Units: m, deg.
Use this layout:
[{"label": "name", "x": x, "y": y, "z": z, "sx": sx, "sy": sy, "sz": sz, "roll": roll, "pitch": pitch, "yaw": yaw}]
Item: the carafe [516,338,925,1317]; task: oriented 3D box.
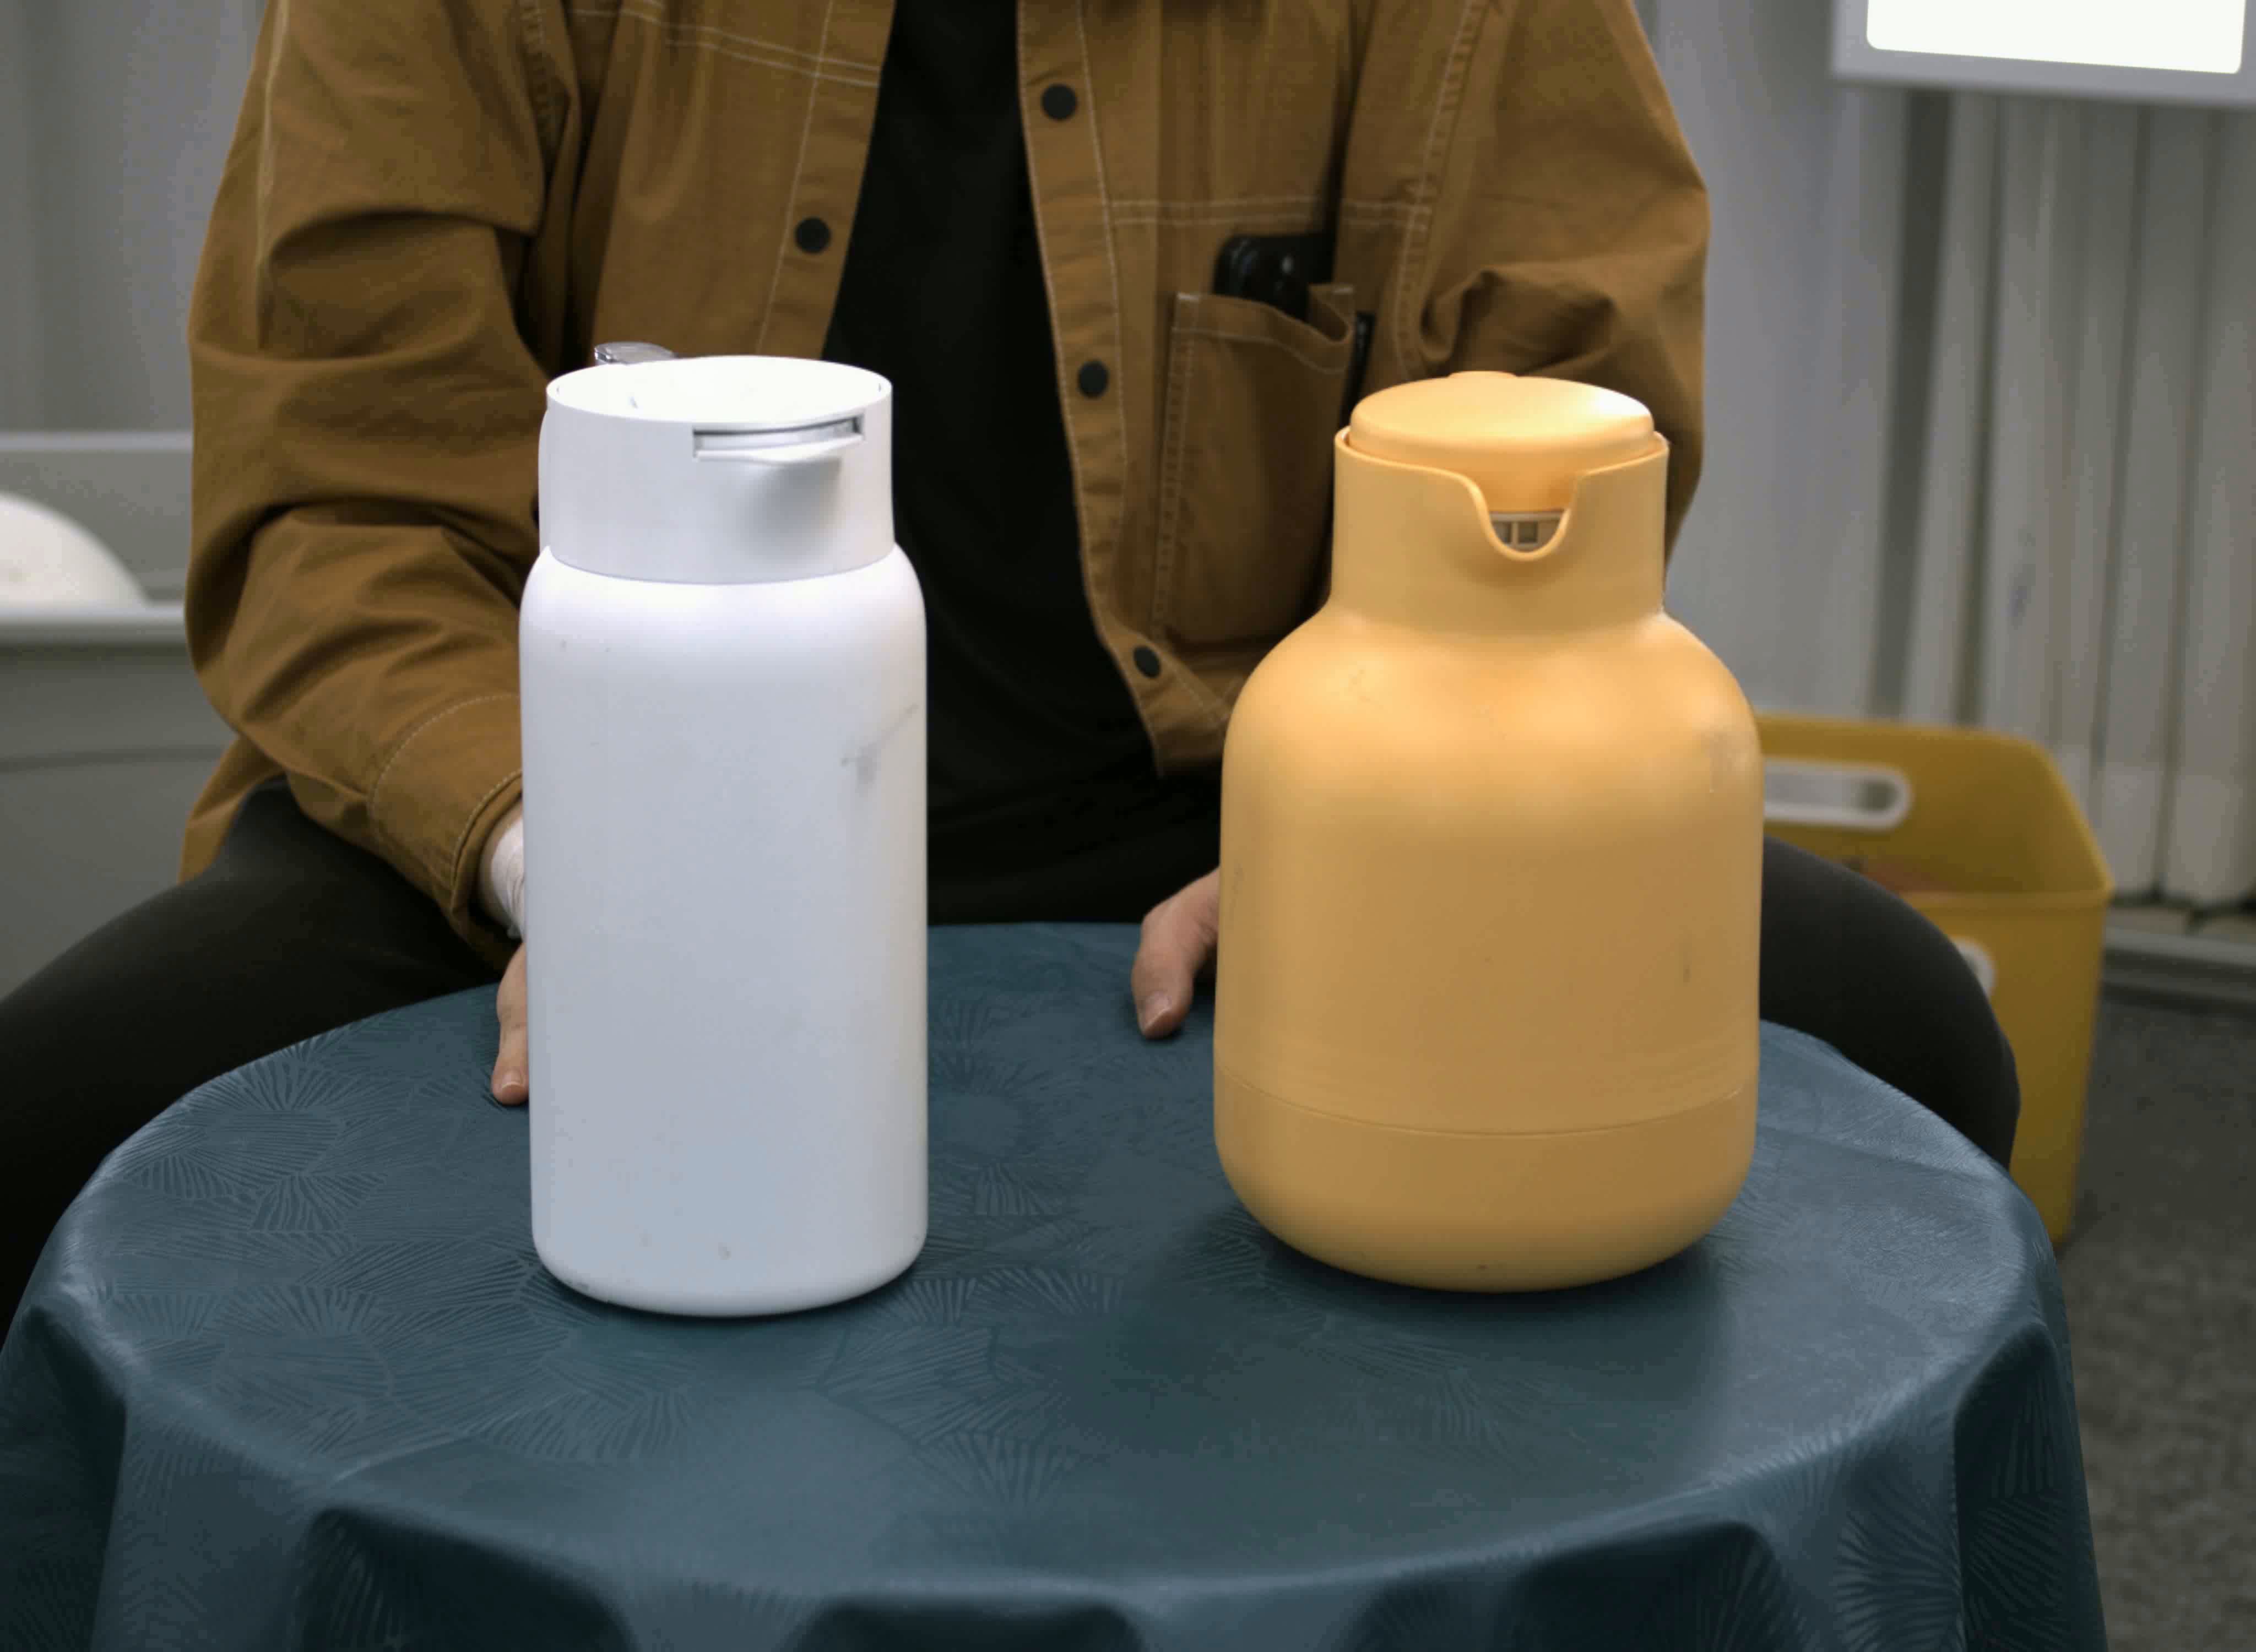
[{"label": "carafe", "x": -0.127, "y": -0.004, "z": 1.535, "sx": 0.124, "sy": 0.271, "sz": 0.170, "roll": -11, "pitch": 19, "yaw": -28}]

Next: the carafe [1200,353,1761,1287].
[{"label": "carafe", "x": 0.107, "y": -0.010, "z": 1.571, "sx": 0.163, "sy": 0.262, "sz": 0.201, "roll": 3, "pitch": 18, "yaw": -1}]
